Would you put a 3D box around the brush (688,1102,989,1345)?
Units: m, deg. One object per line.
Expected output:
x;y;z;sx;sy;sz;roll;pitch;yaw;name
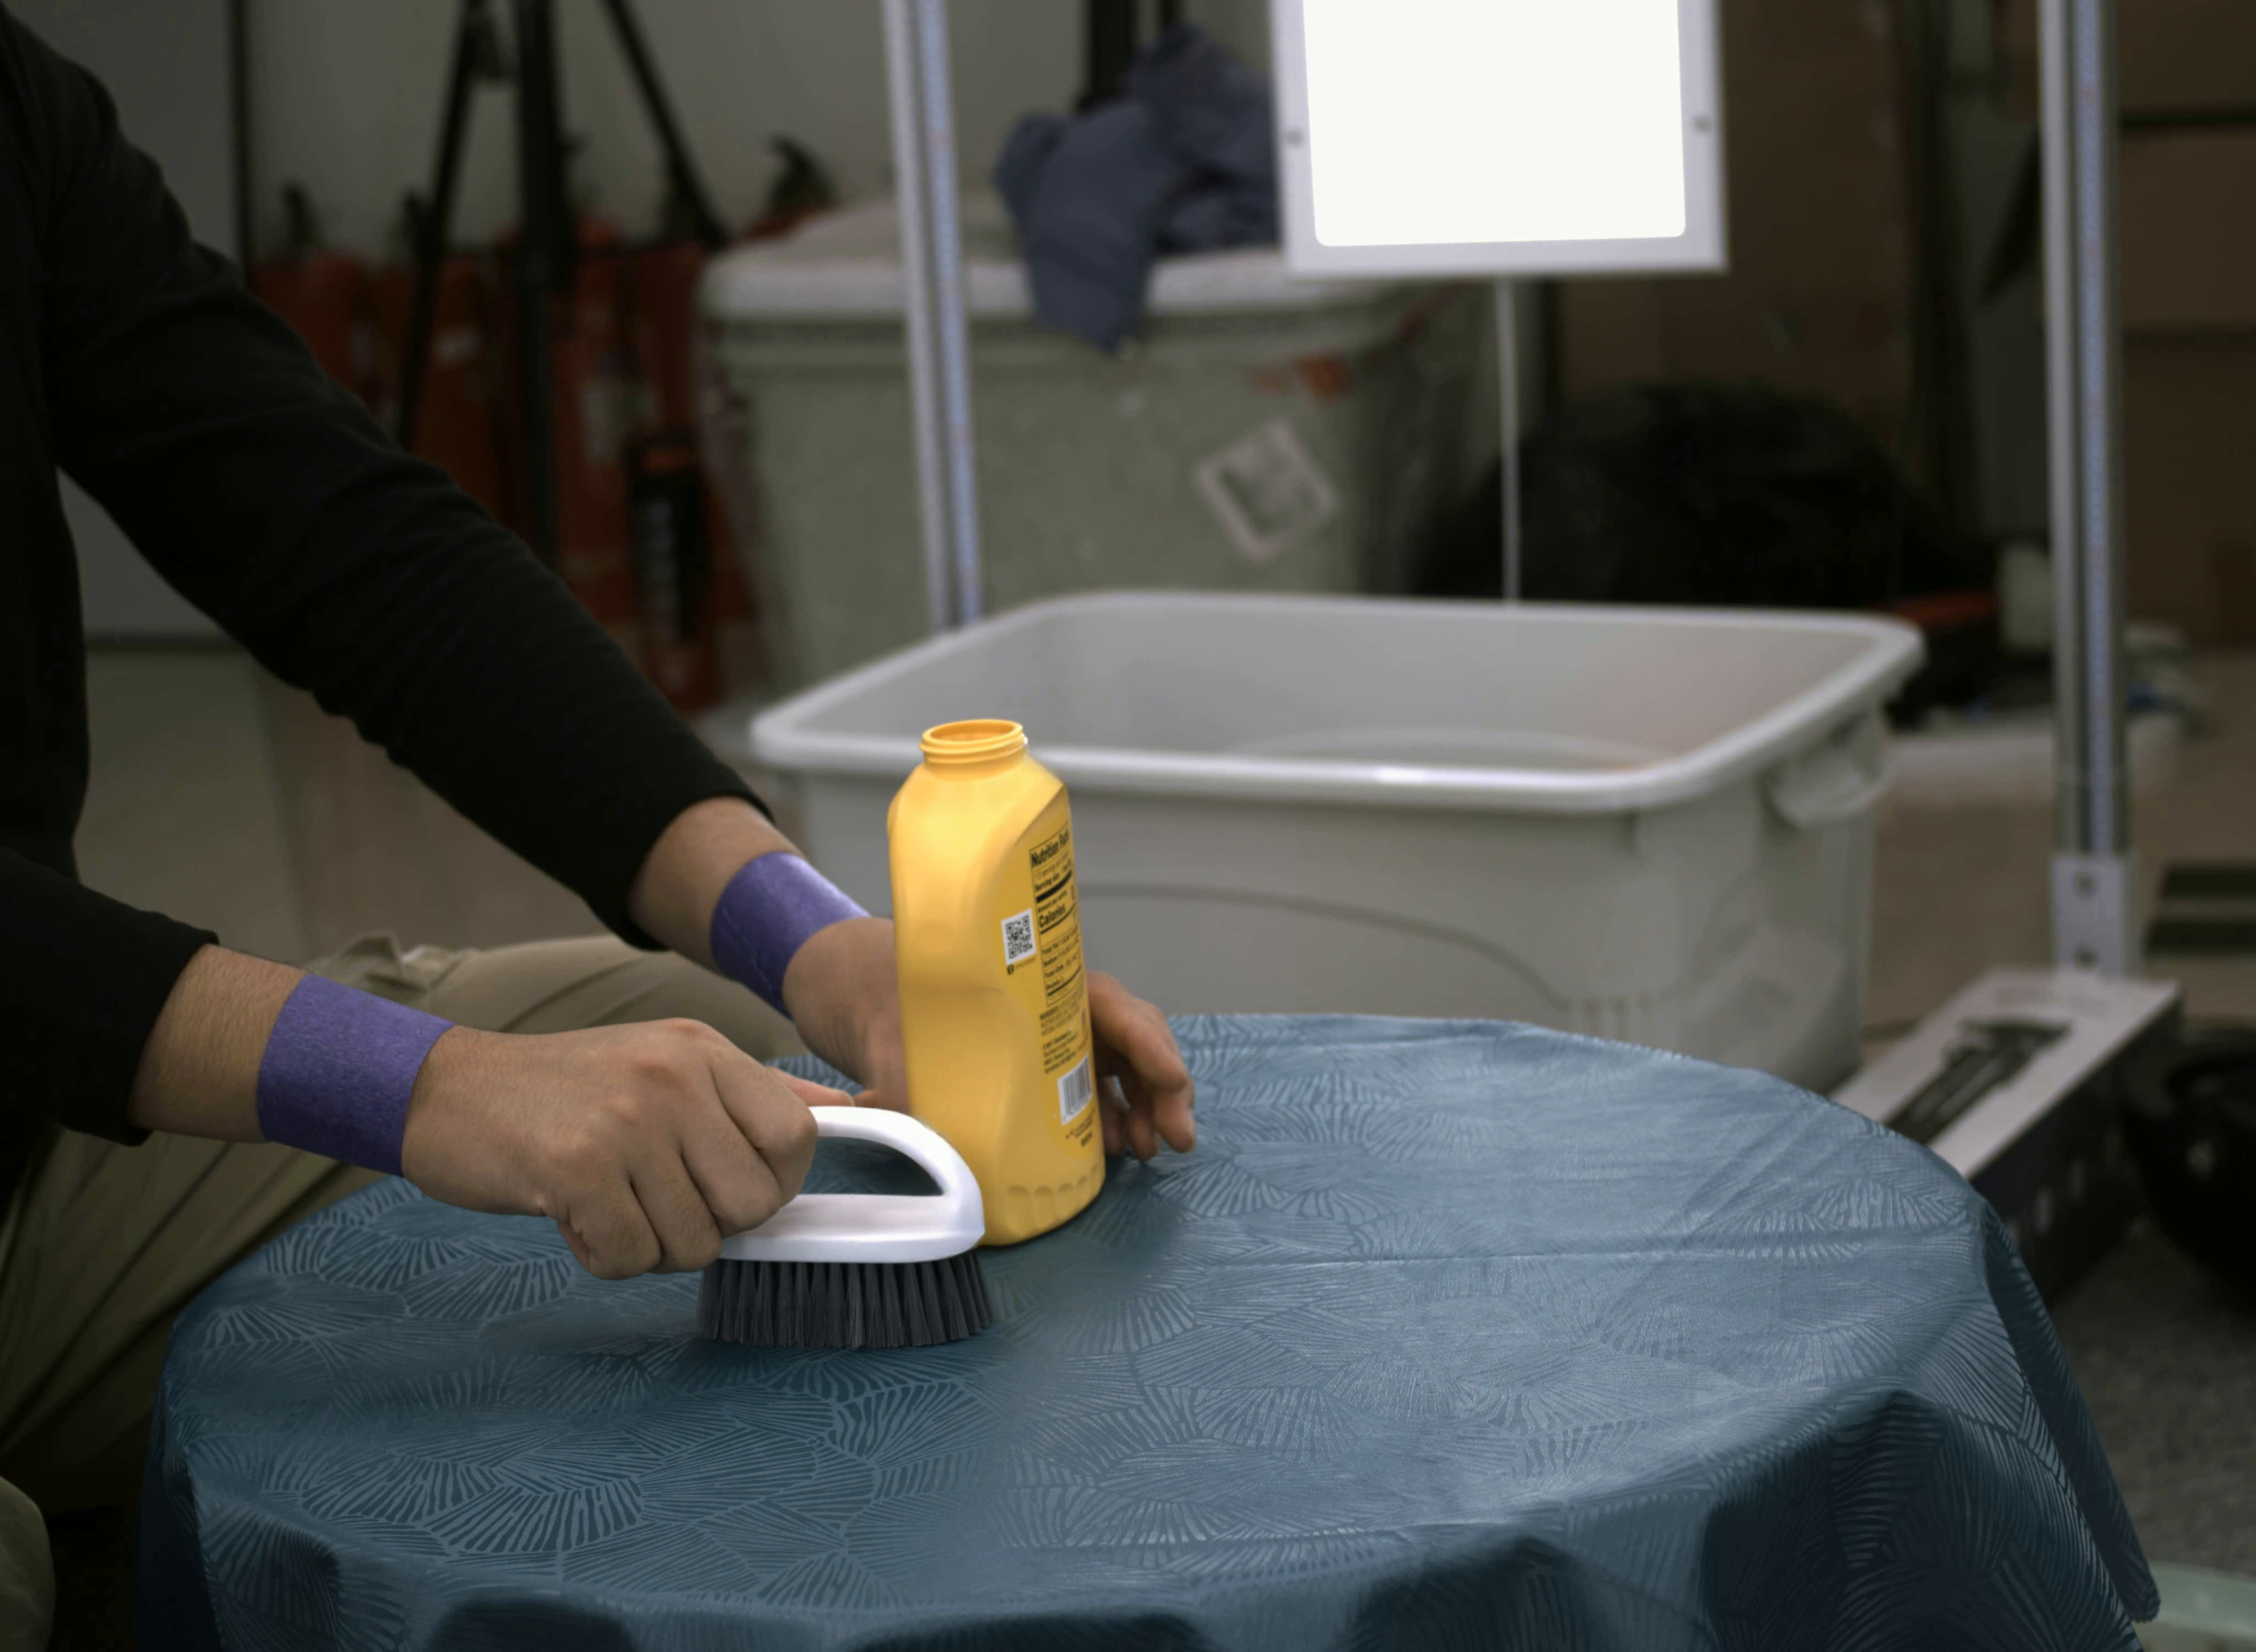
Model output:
-0.095;0.125;1.779;0.100;0.073;0.049;1;13;21;brush

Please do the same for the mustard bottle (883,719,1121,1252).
-0.044;0.052;1.865;0.060;0.172;0.097;-4;14;18;mustard bottle
